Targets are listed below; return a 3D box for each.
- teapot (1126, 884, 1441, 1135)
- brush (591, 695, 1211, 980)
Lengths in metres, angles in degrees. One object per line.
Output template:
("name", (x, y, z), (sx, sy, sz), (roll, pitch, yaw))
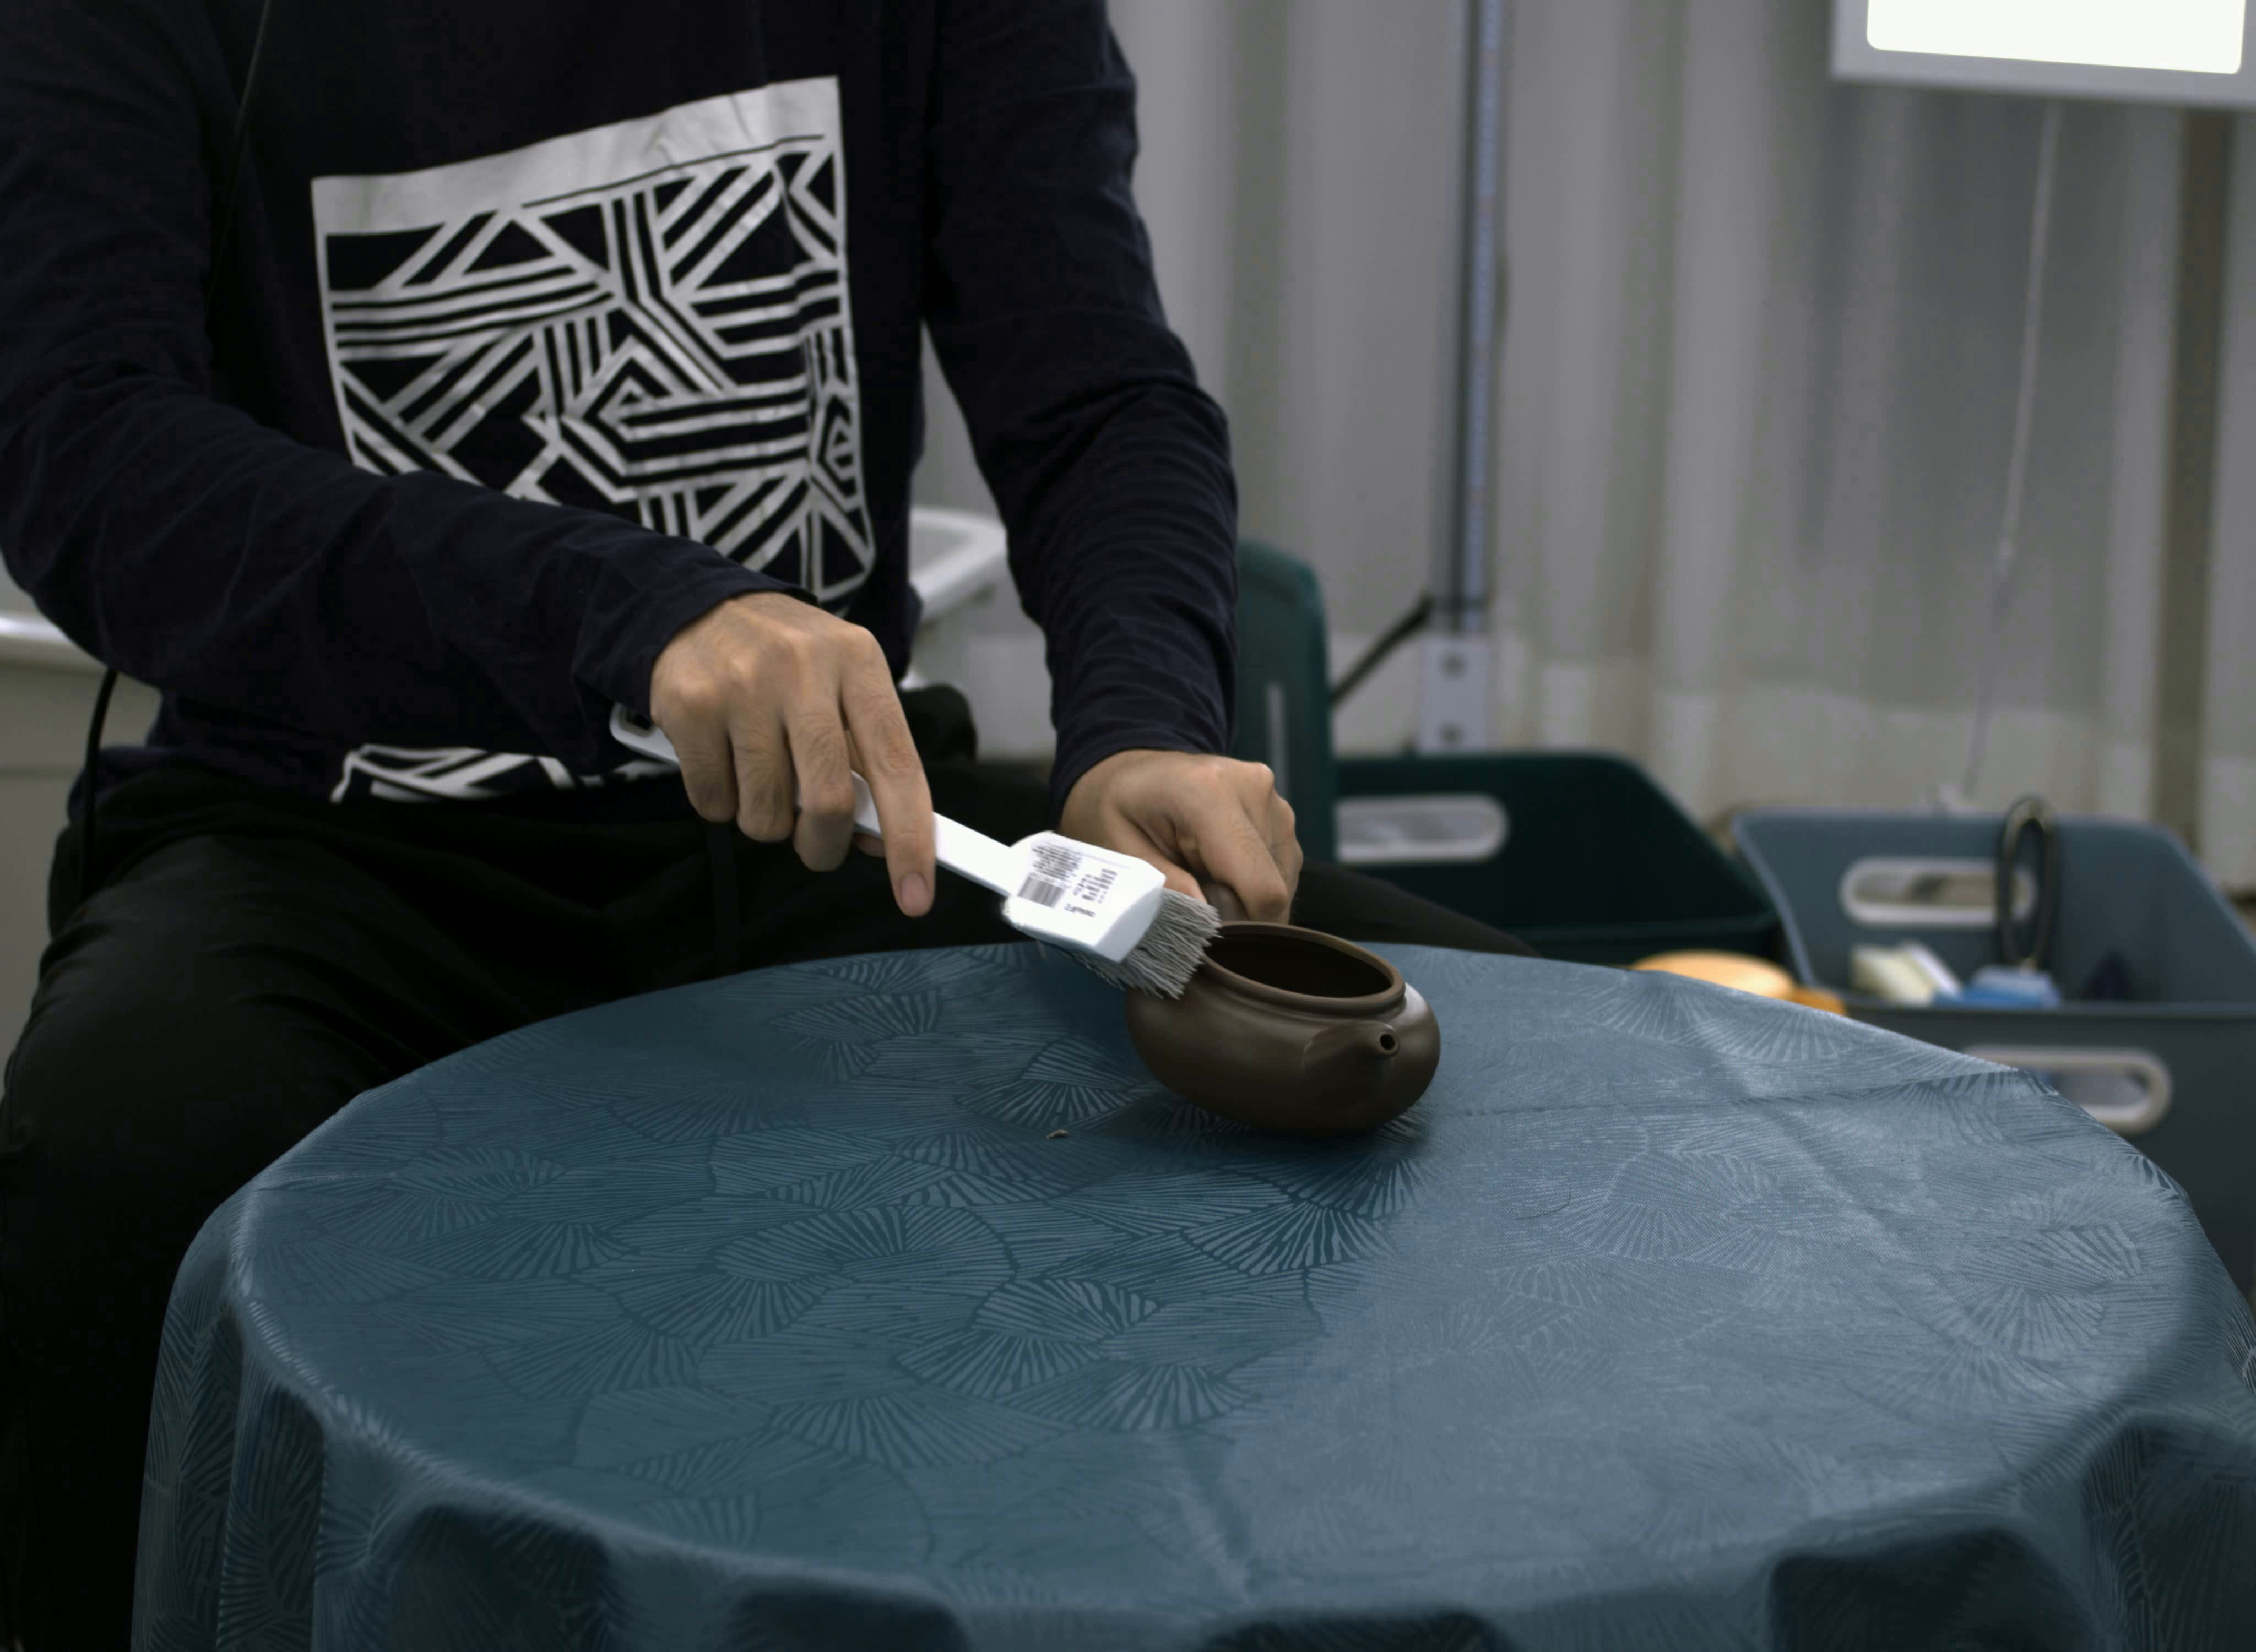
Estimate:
("teapot", (0.048, 0.061, 1.692), (0.103, 0.054, 0.151), (1, 21, -30))
("brush", (-0.076, 0.002, 1.719), (0.240, 0.034, 0.051), (18, -12, 34))
